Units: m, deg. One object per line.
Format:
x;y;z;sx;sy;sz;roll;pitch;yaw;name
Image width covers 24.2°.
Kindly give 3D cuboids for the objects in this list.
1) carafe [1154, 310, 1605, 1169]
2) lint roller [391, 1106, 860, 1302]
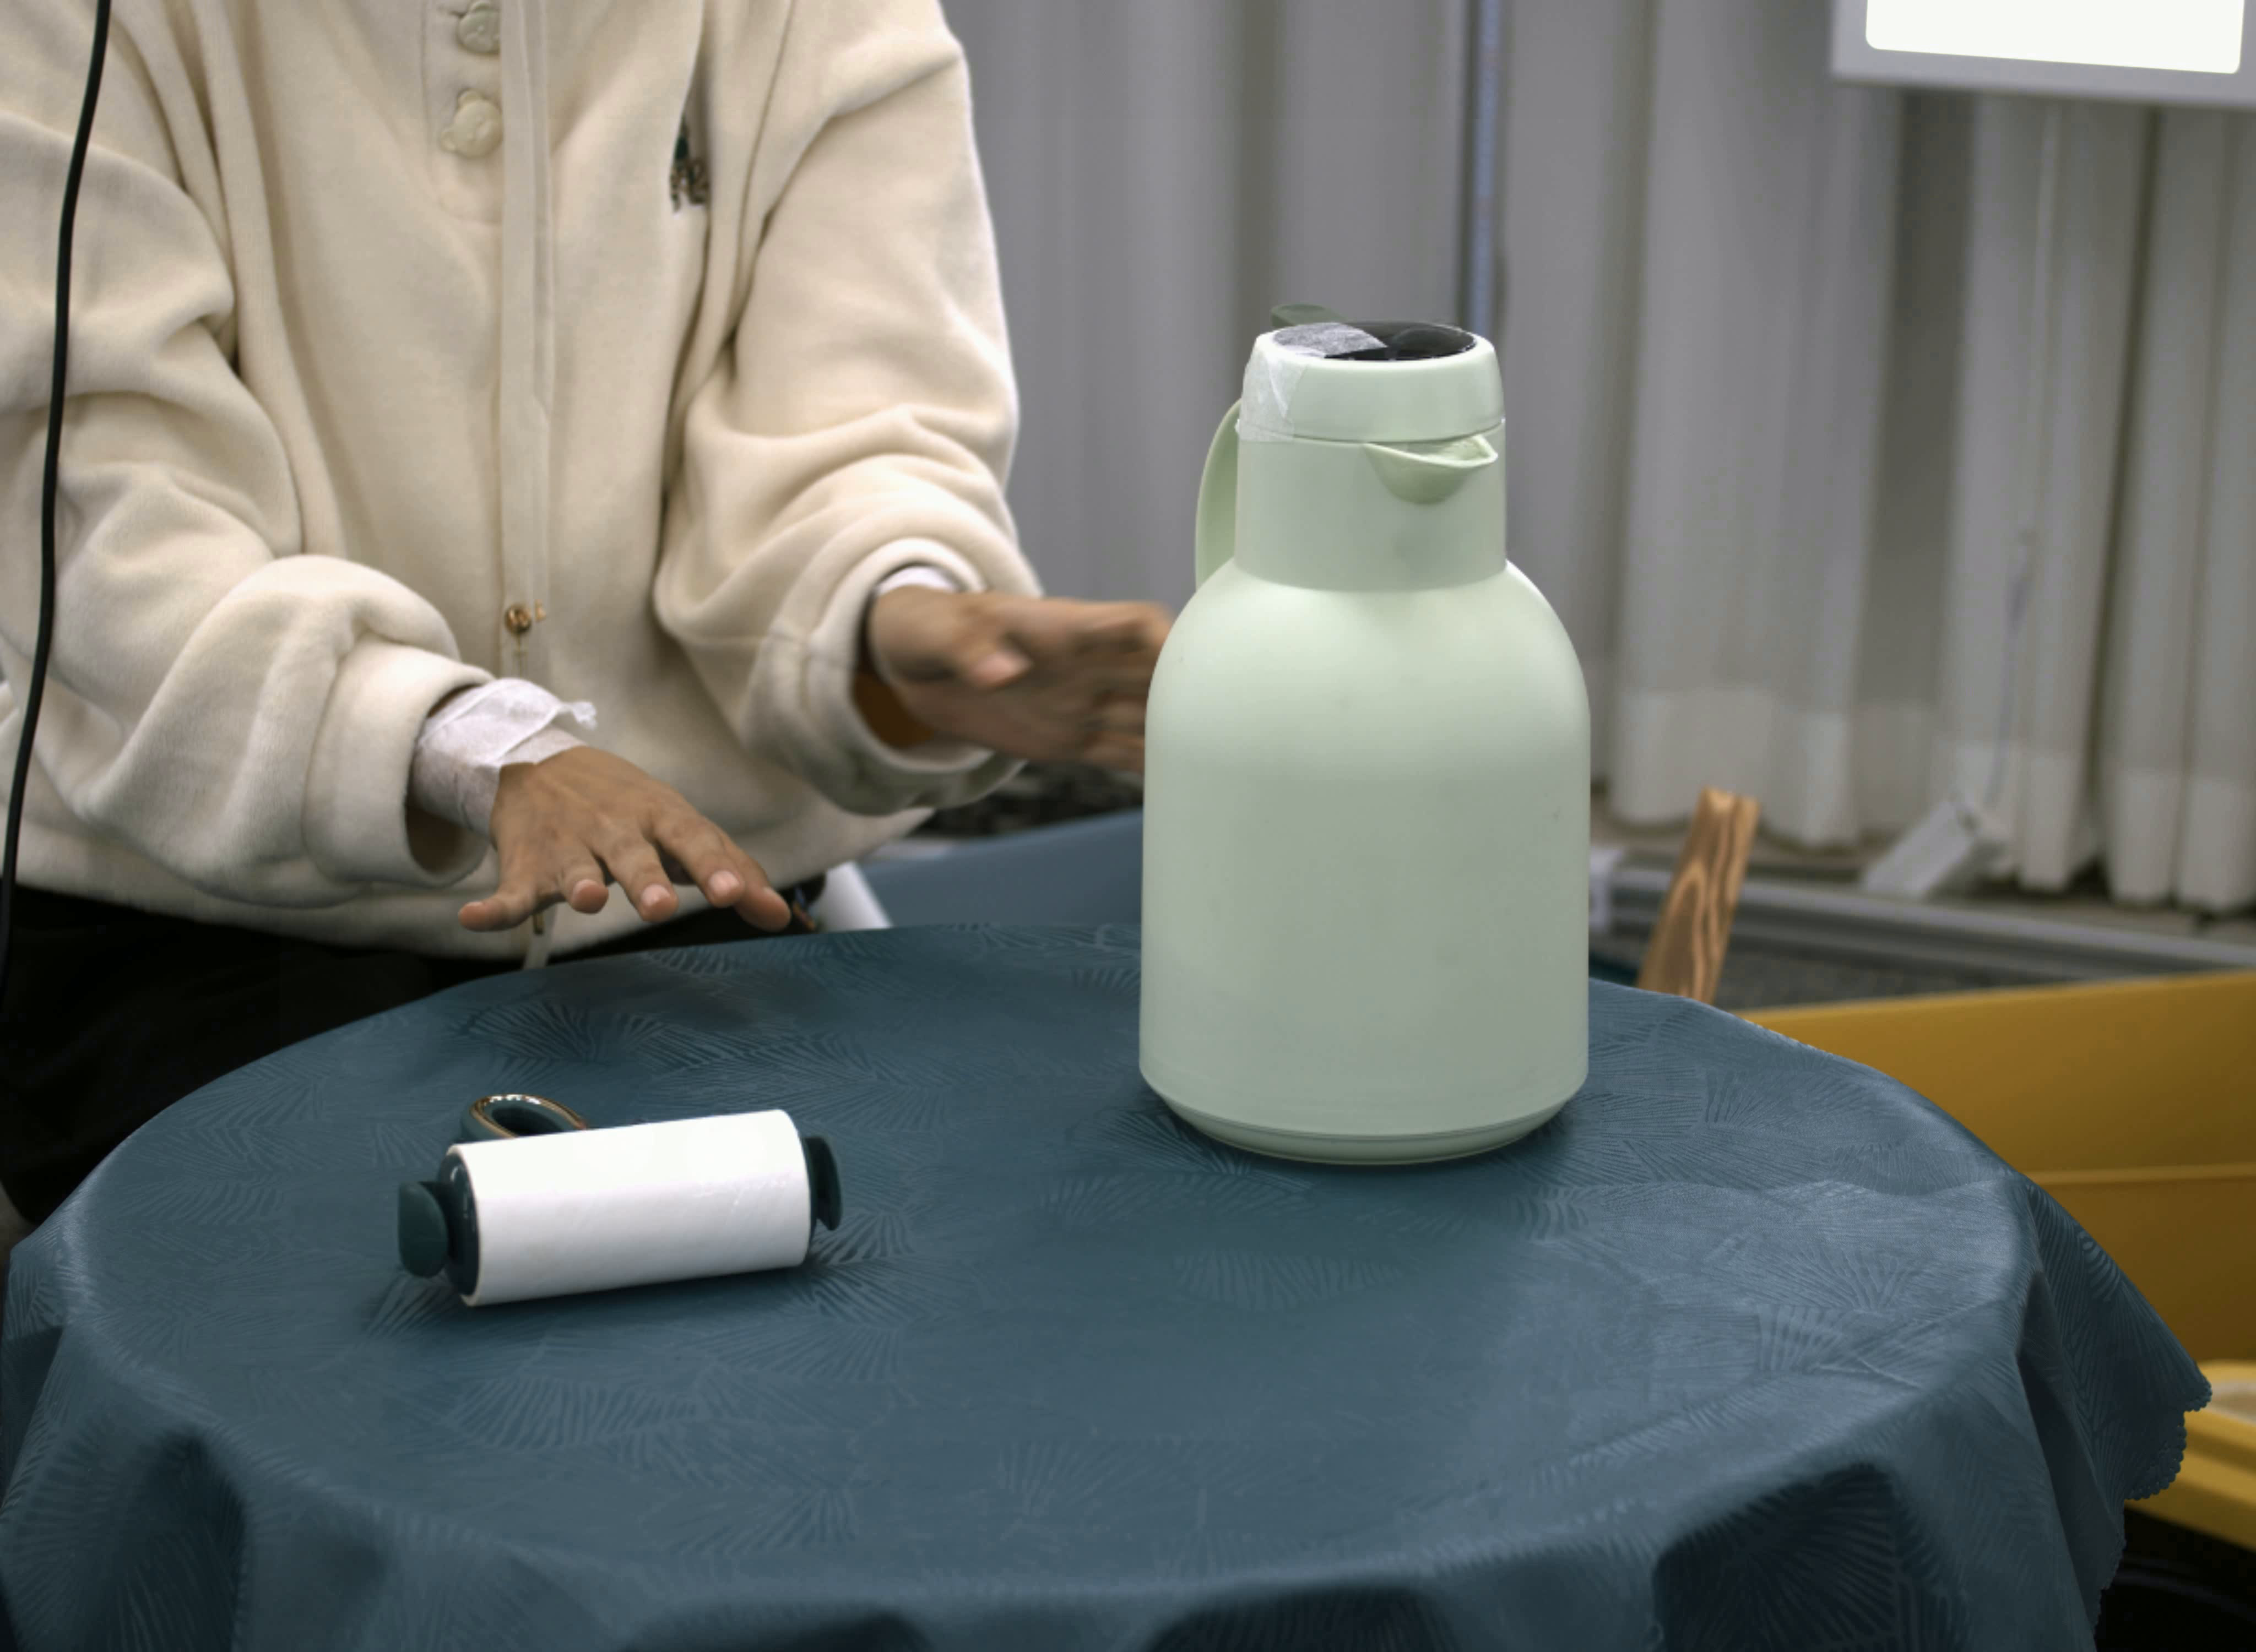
0.073;-0.033;1.679;0.144;0.259;0.185;-8;14;-21;carafe
-0.170;0.094;1.592;0.135;0.049;0.178;-5;16;-20;lint roller
